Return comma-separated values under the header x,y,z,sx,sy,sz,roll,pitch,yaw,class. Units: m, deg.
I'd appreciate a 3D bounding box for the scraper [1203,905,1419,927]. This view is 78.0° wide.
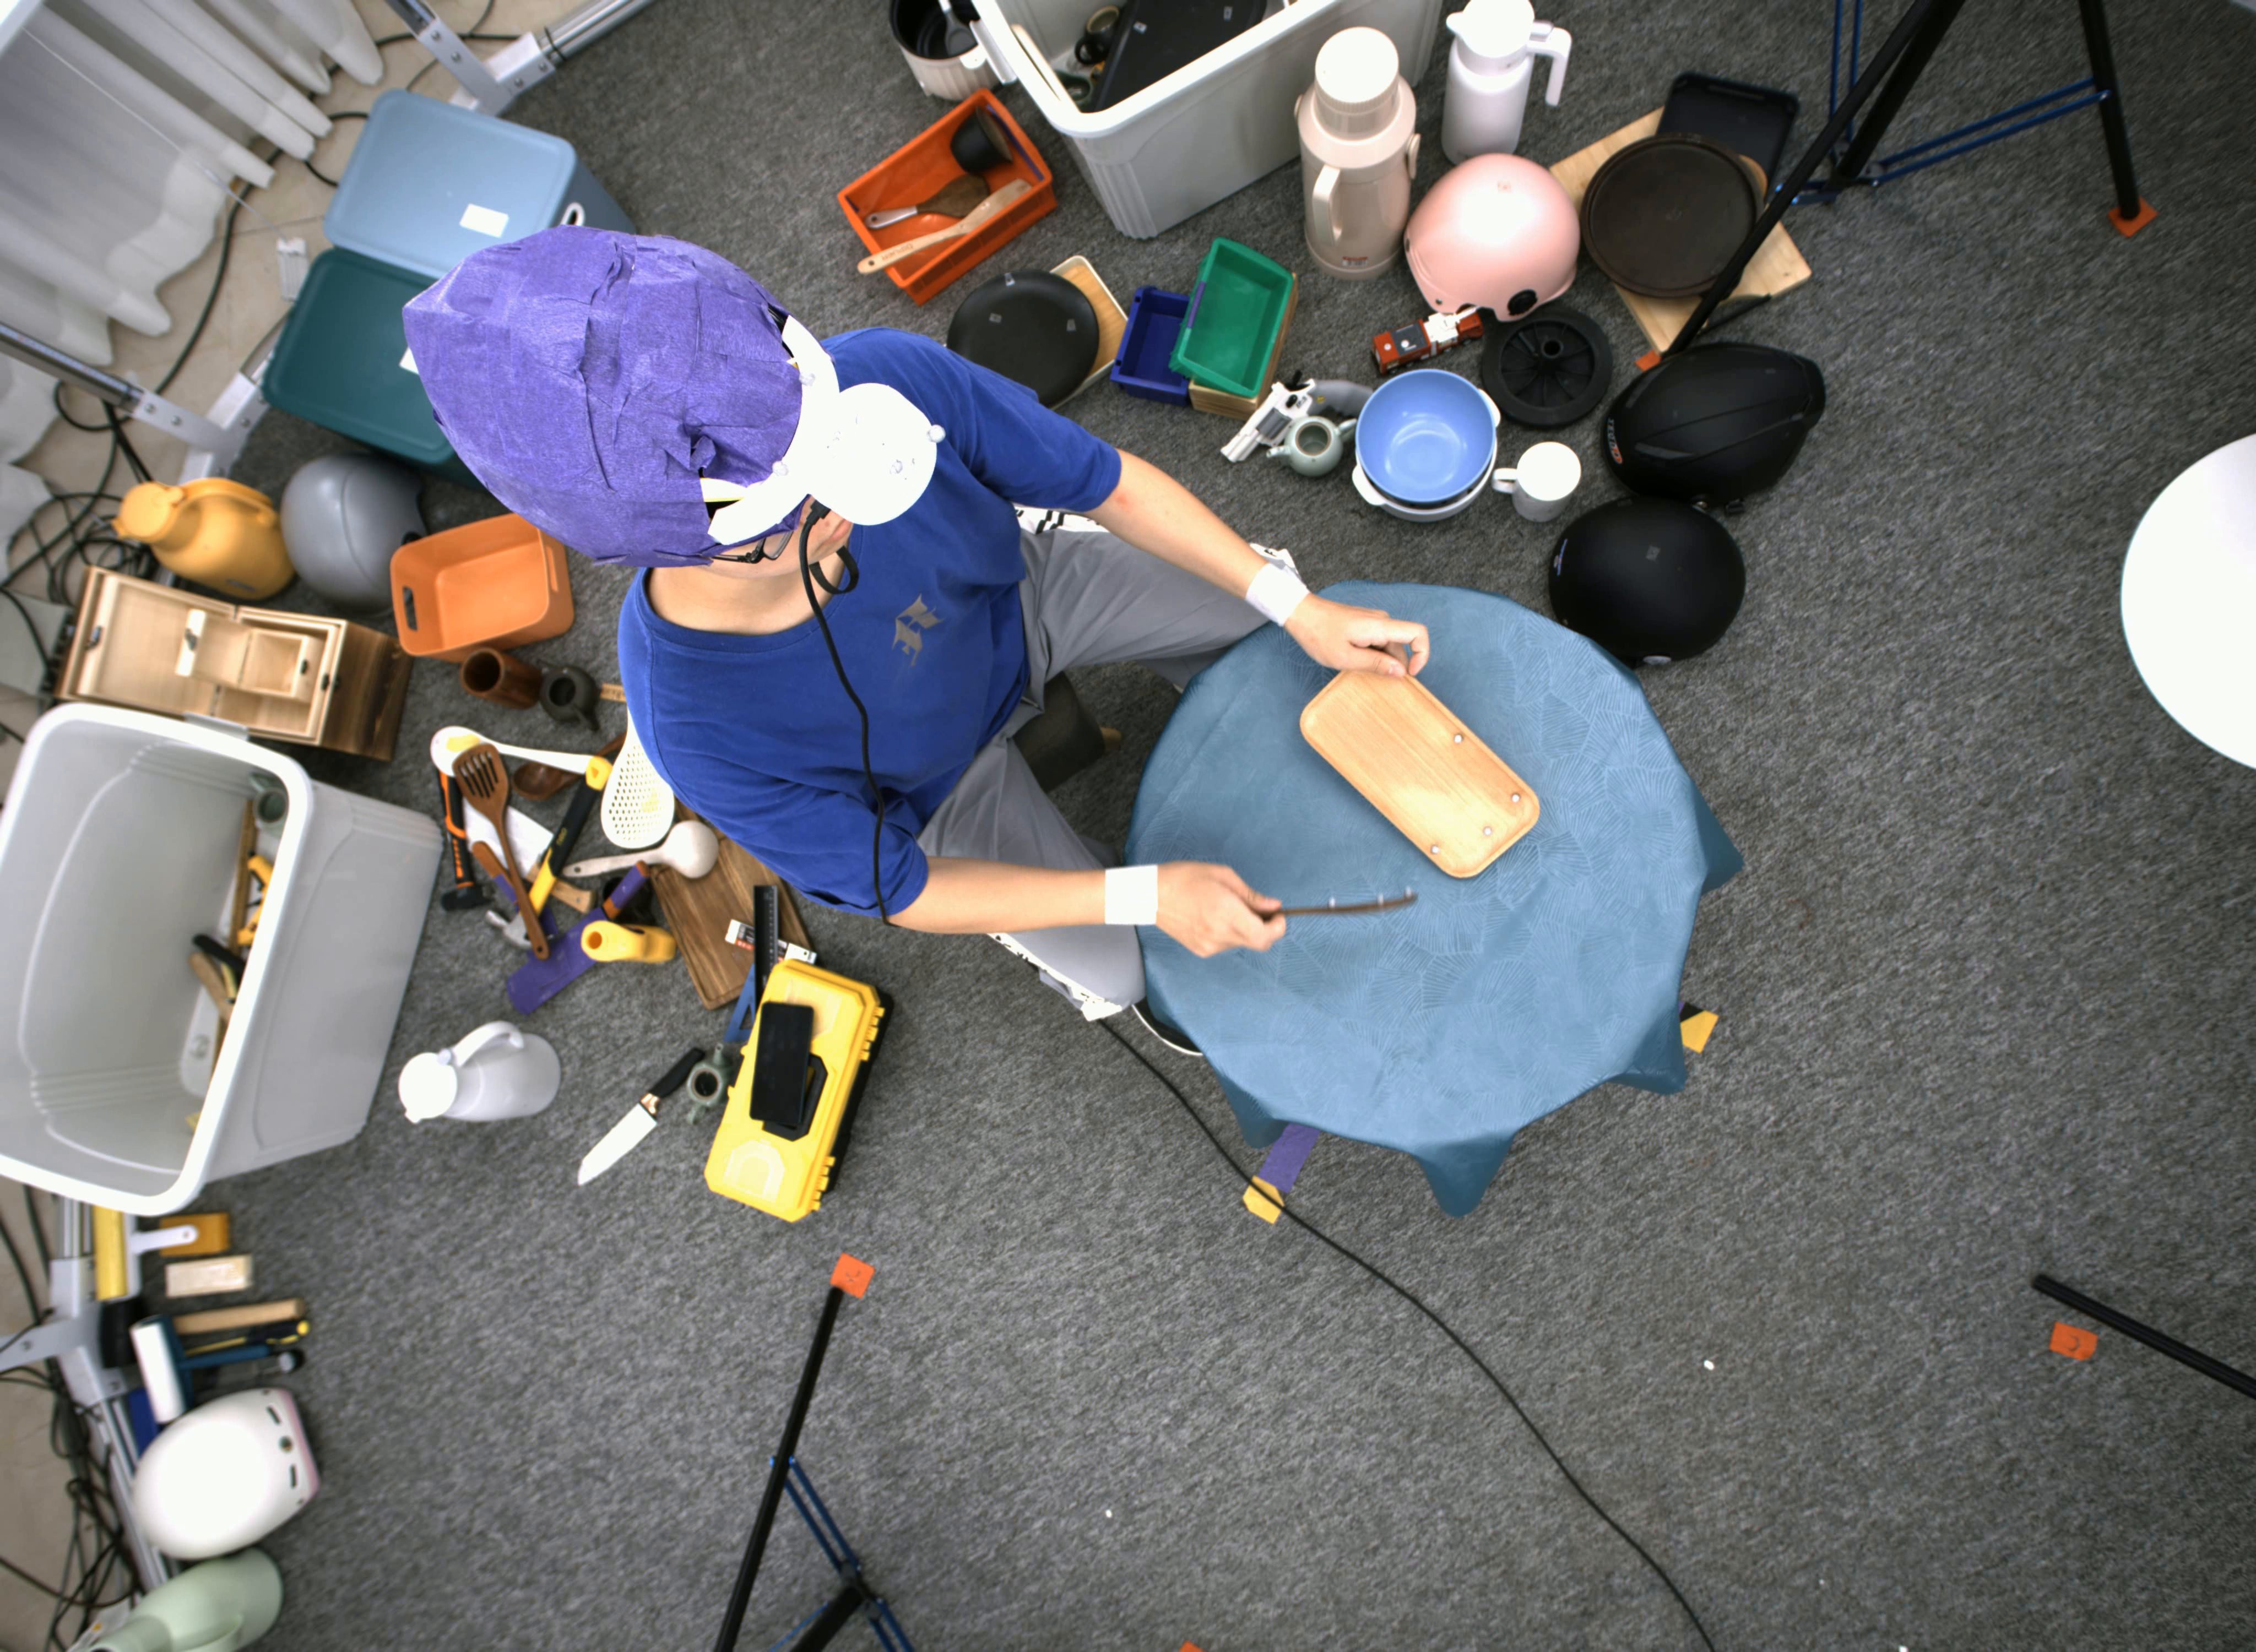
x,y,z,sx,sy,sz,roll,pitch,yaw,class
0.176,0.089,1.348,0.213,0.075,0.011,-5,92,19,scraper

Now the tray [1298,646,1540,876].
x,y,z,sx,sy,sz,roll,pitch,yaw,class
0.297,-0.067,1.406,0.251,0.022,0.133,44,116,-3,tray
